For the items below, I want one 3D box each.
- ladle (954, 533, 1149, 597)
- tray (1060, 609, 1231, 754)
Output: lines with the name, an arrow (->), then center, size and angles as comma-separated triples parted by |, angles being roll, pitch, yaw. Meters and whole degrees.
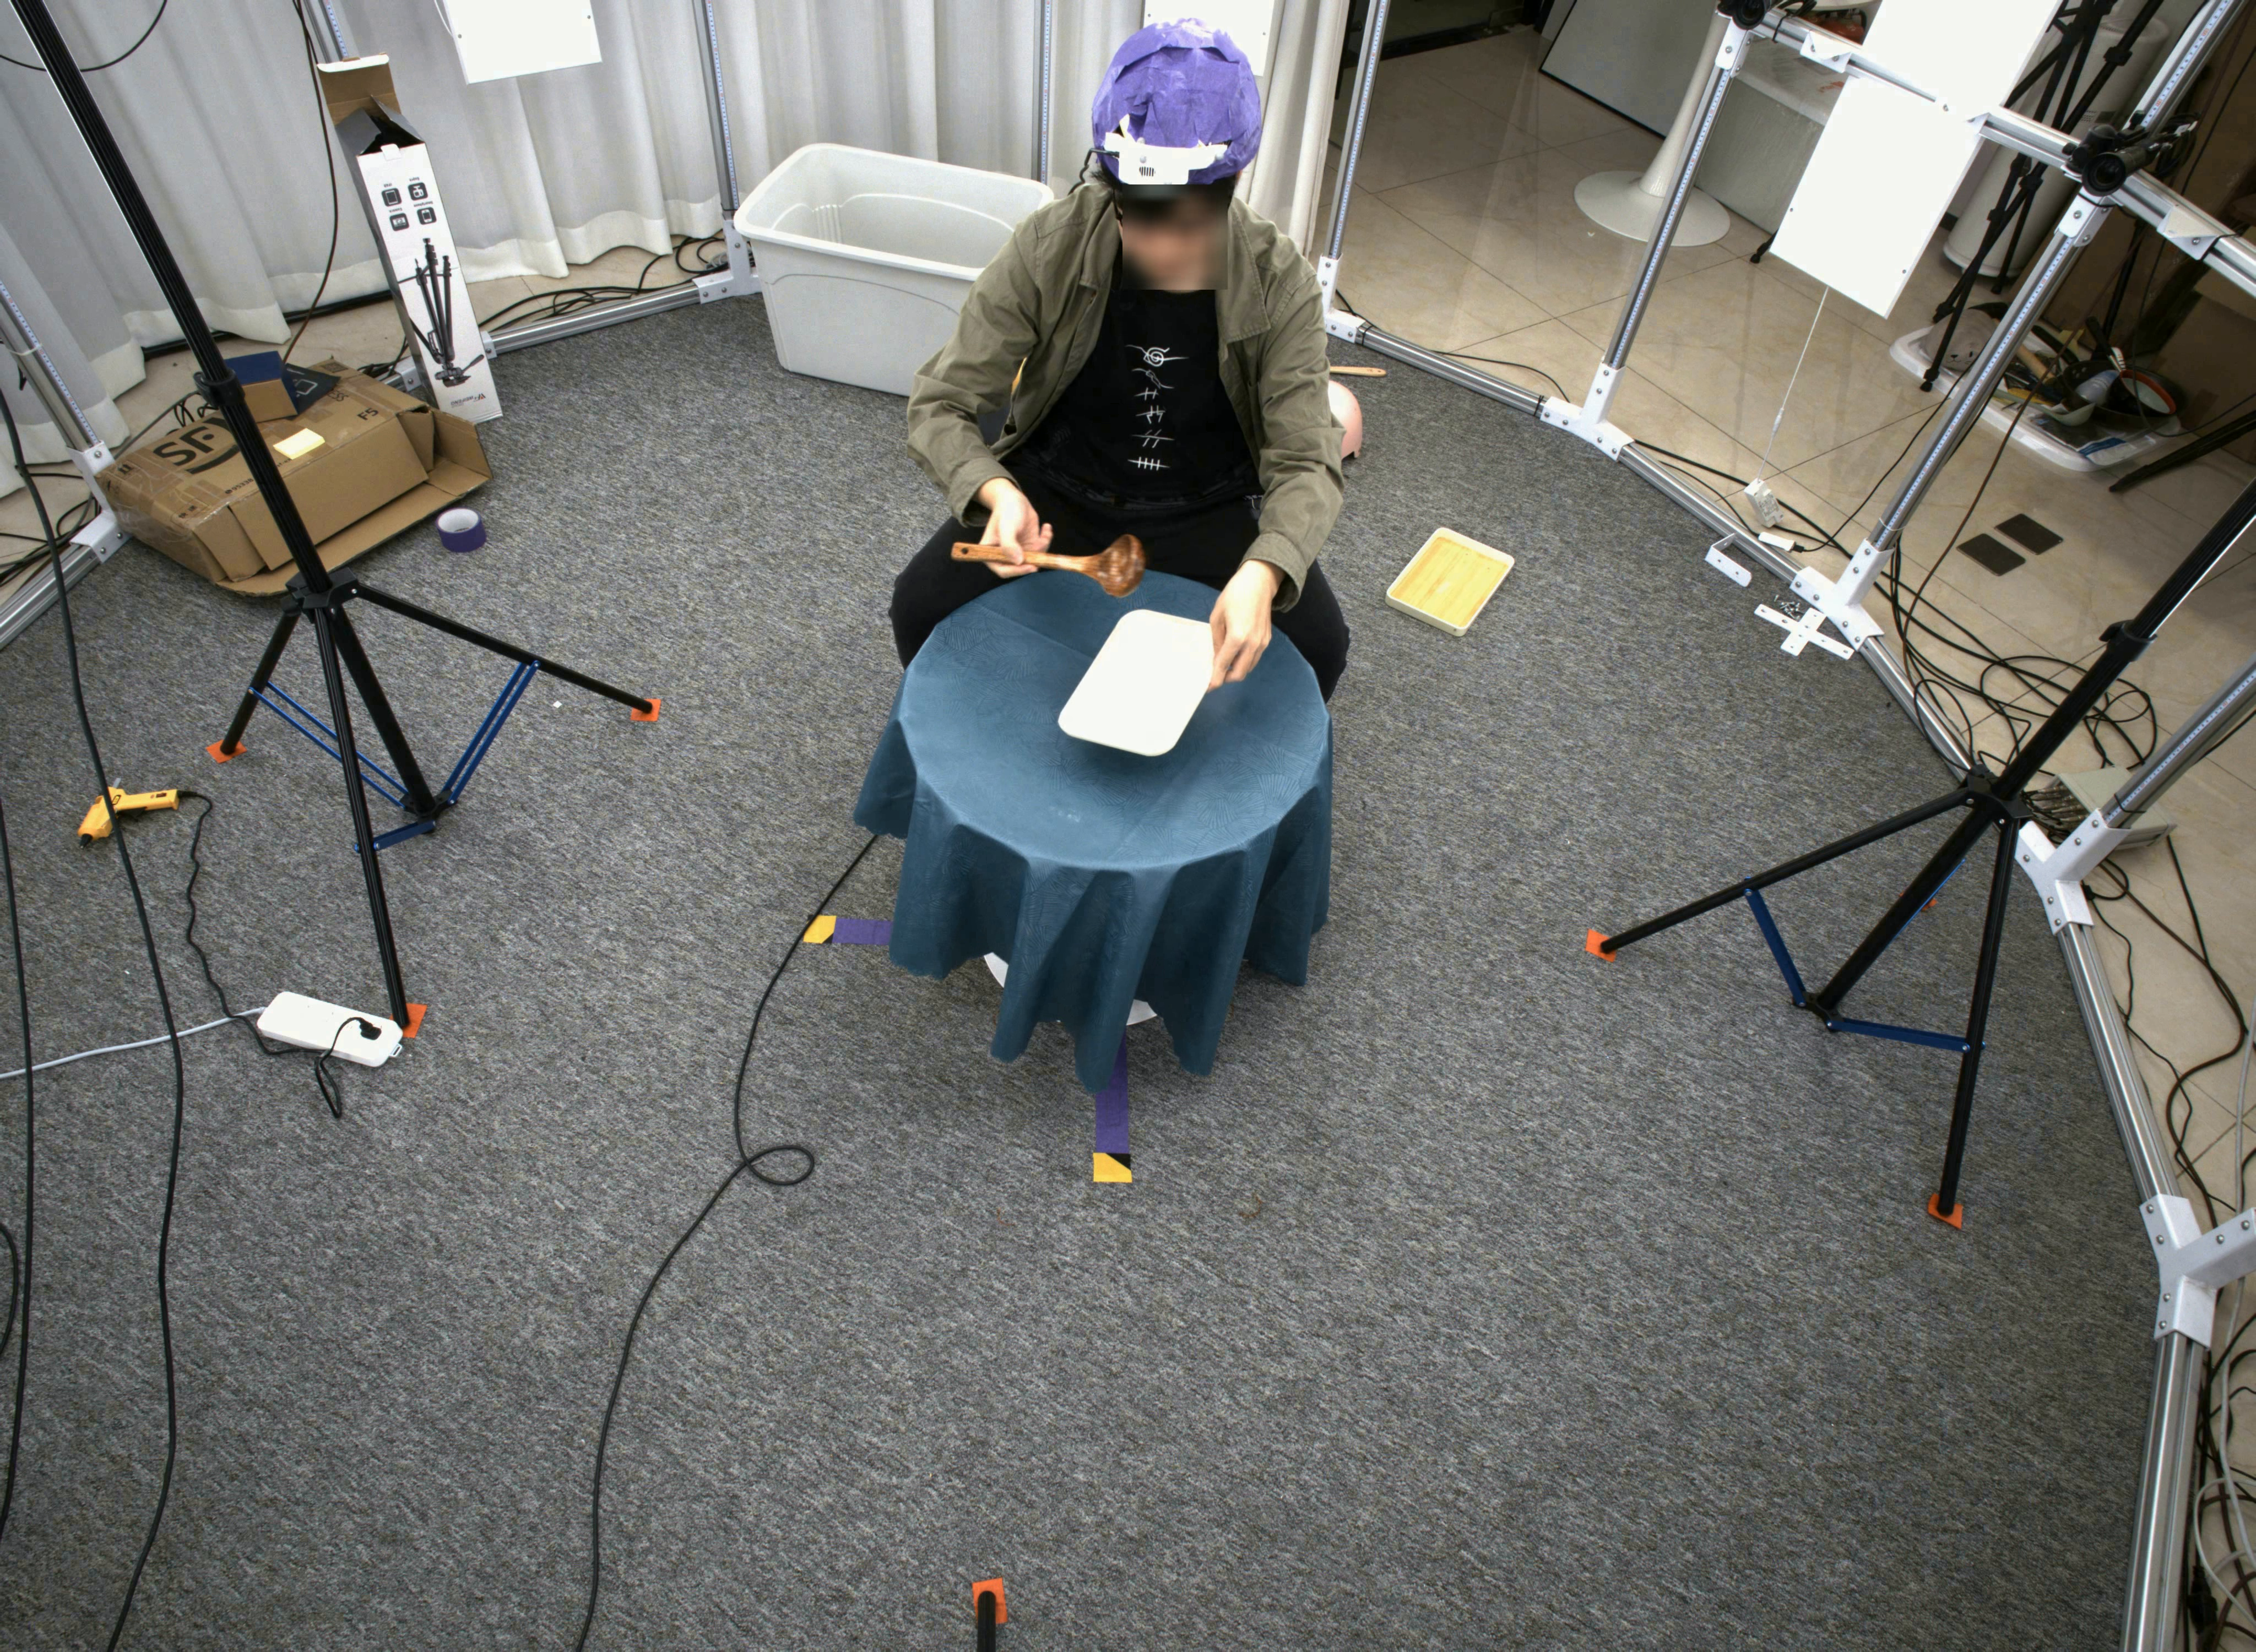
ladle -> -0.104, -0.350, 1.648 | 0.275, 0.076, 0.082 | 12, 83, 12
tray -> 0.026, -0.195, 1.721 | 0.172, 0.017, 0.244 | 15, 56, 22
